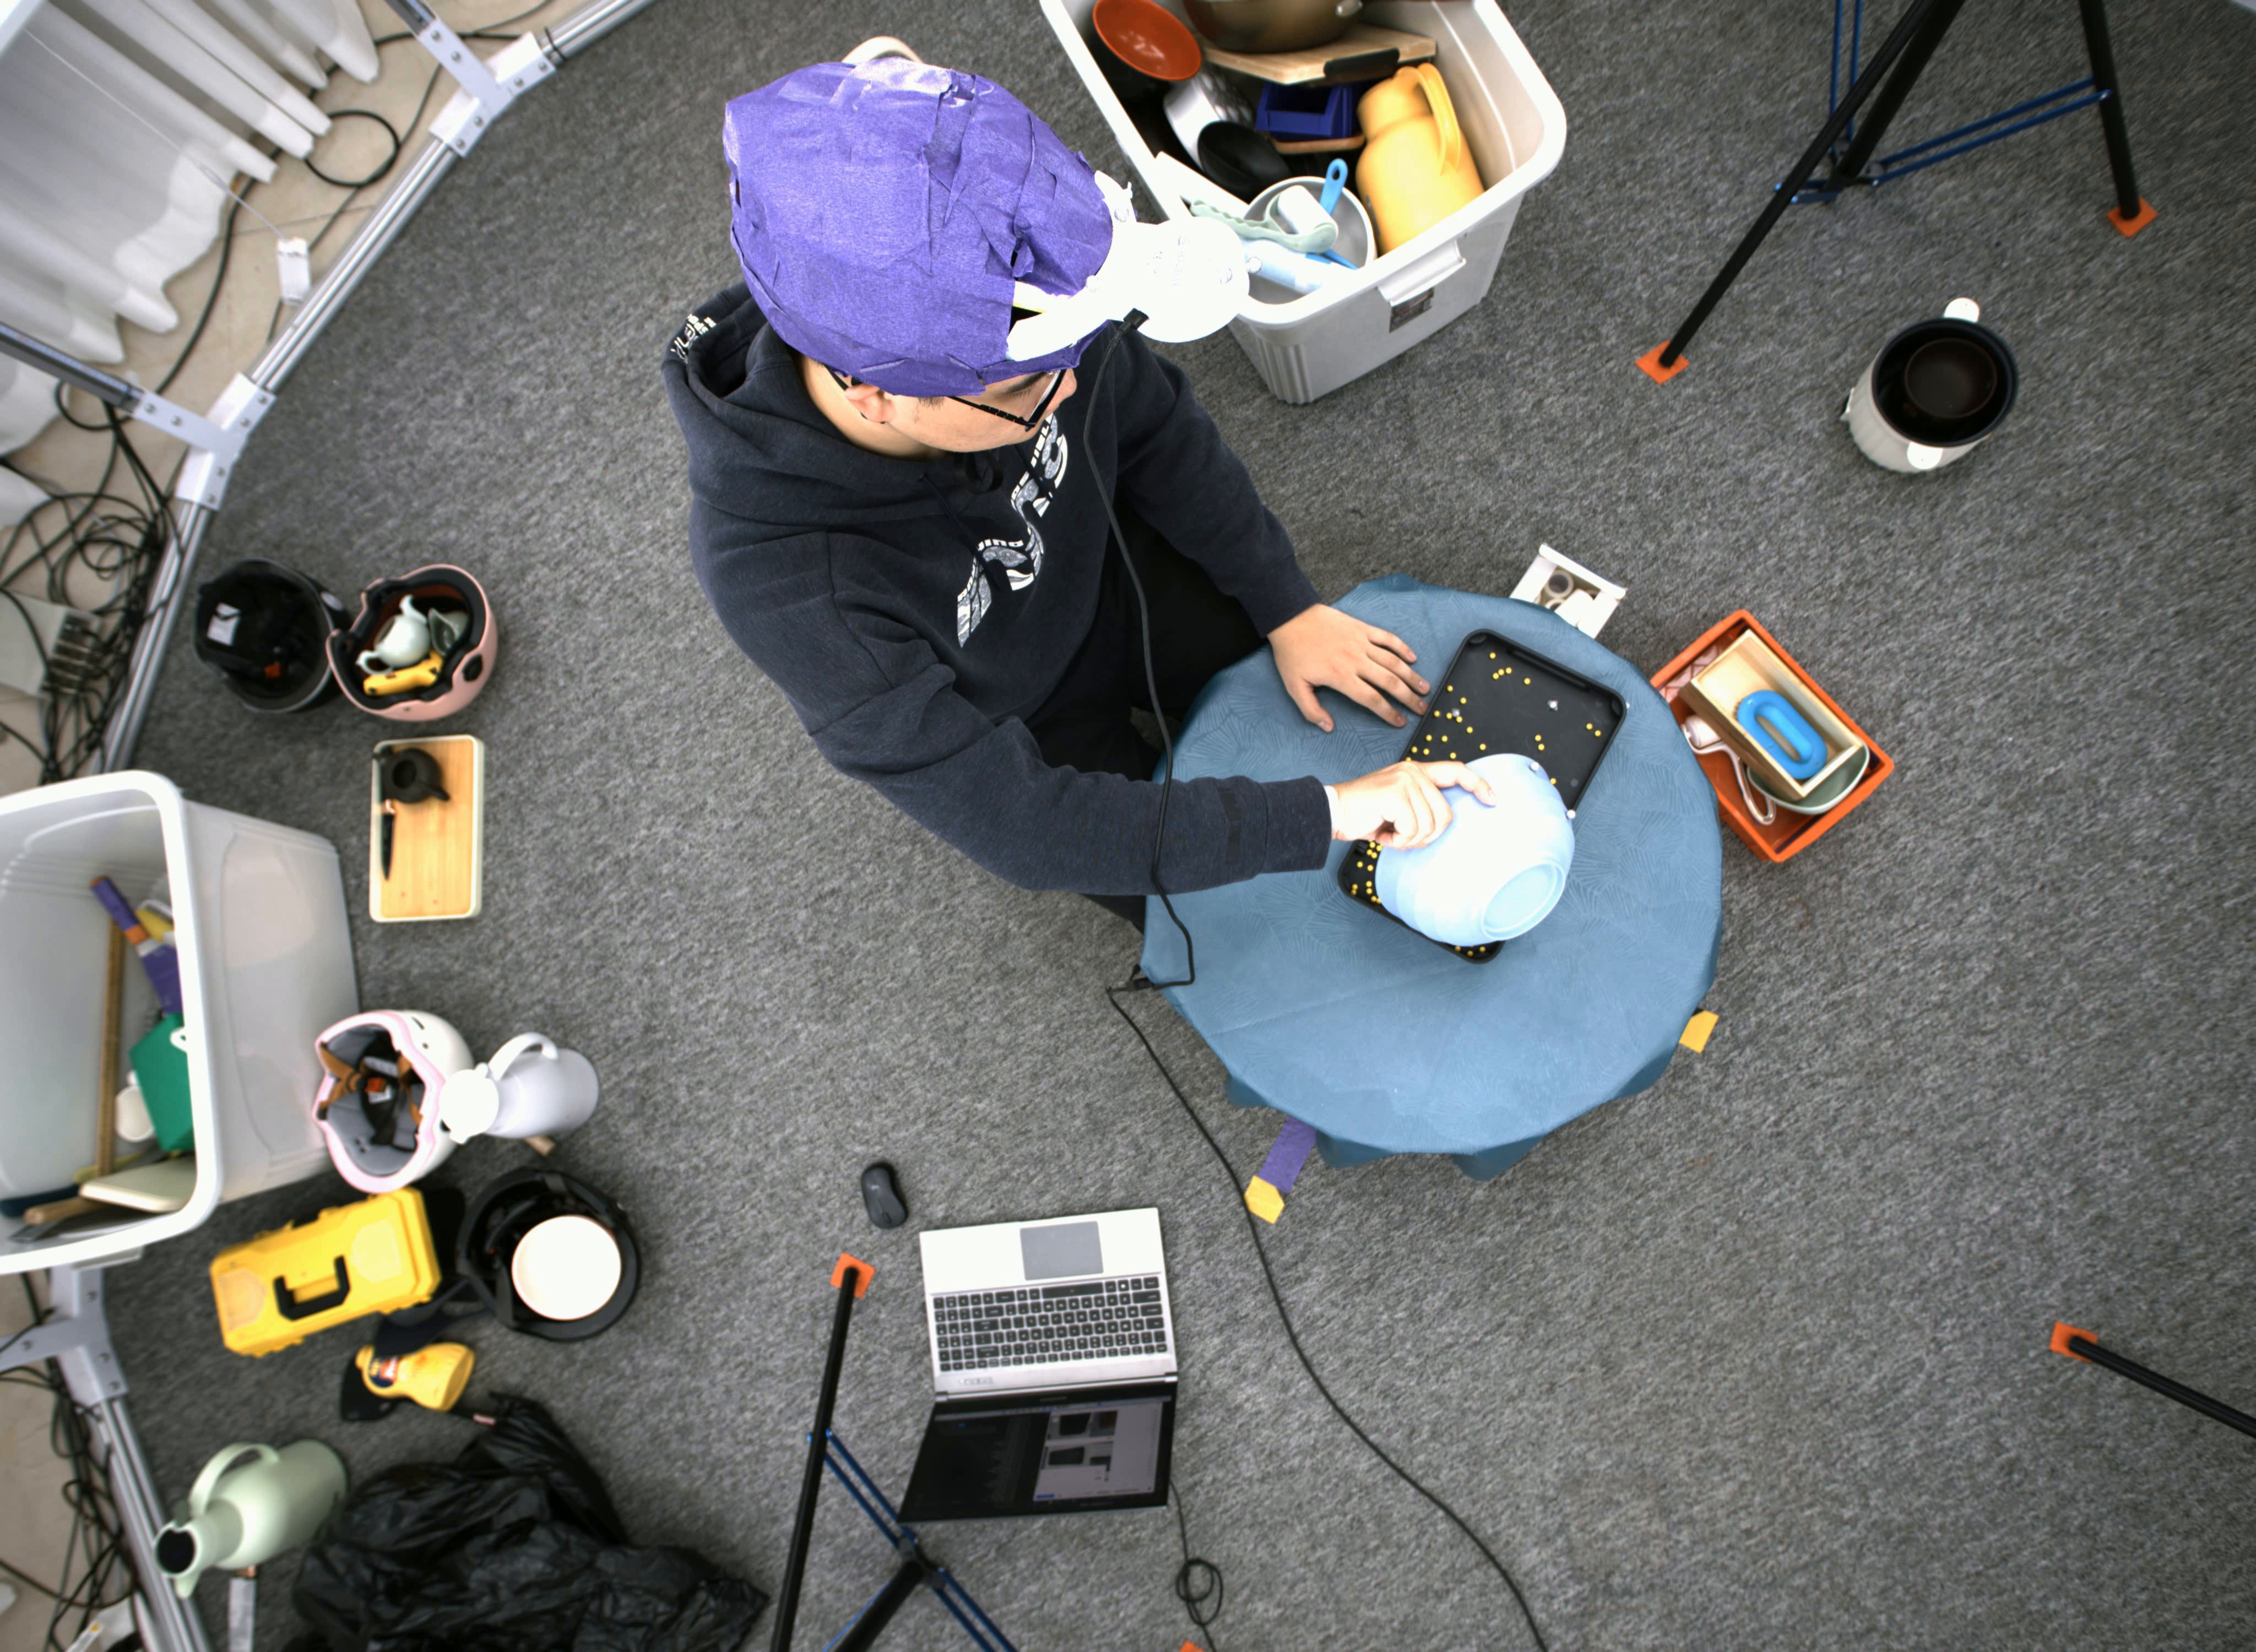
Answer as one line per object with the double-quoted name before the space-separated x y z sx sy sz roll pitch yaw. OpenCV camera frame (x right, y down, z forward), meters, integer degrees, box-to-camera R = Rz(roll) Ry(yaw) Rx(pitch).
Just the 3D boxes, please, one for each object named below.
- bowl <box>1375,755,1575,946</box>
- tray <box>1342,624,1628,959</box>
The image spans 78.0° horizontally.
"bowl" 0.335 0.039 1.266 0.197 0.199 0.093 -37 48 6
"tray" 0.370 -0.038 1.431 0.184 0.037 0.318 27 93 12
